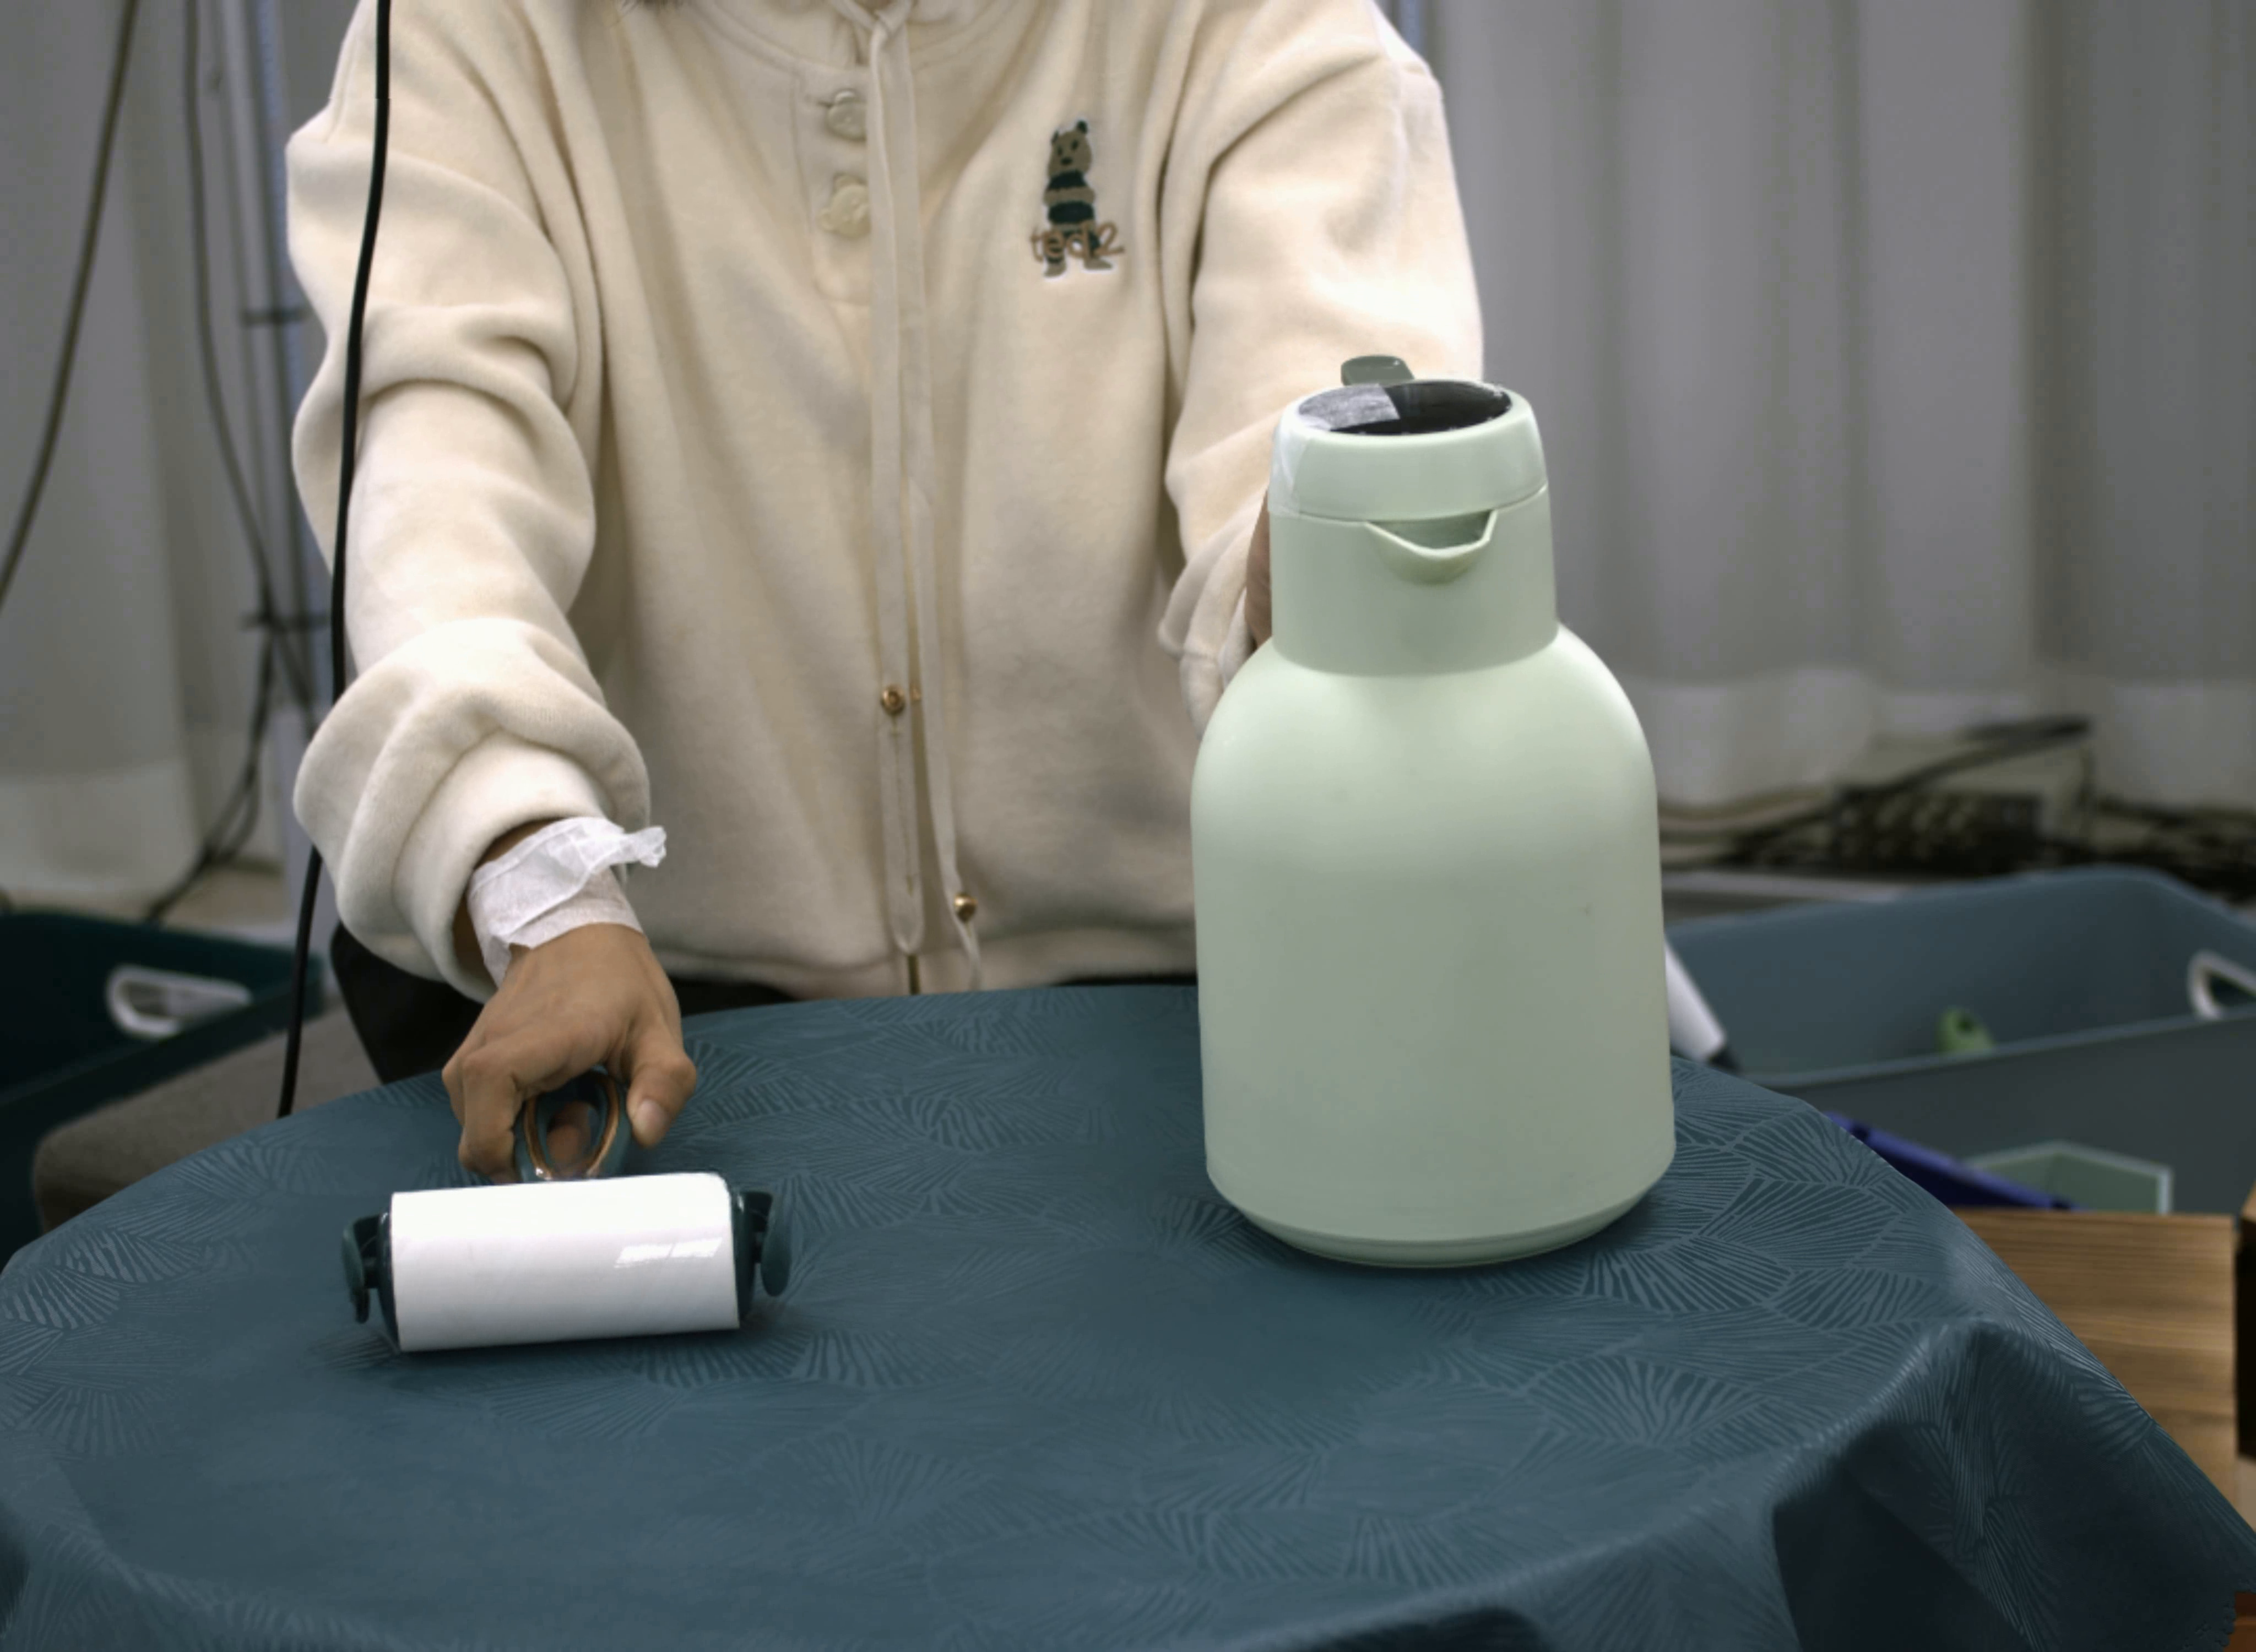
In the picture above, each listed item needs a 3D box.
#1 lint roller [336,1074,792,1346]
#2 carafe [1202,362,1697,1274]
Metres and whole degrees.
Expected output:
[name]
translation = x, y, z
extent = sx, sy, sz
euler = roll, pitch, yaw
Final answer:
[lint roller]
translation = -0.170, 0.100, 1.667
extent = 0.134, 0.048, 0.182
euler = -3, 24, -3
[carafe]
translation = 0.091, -0.008, 1.663
extent = 0.144, 0.256, 0.188
euler = -7, 14, -5
